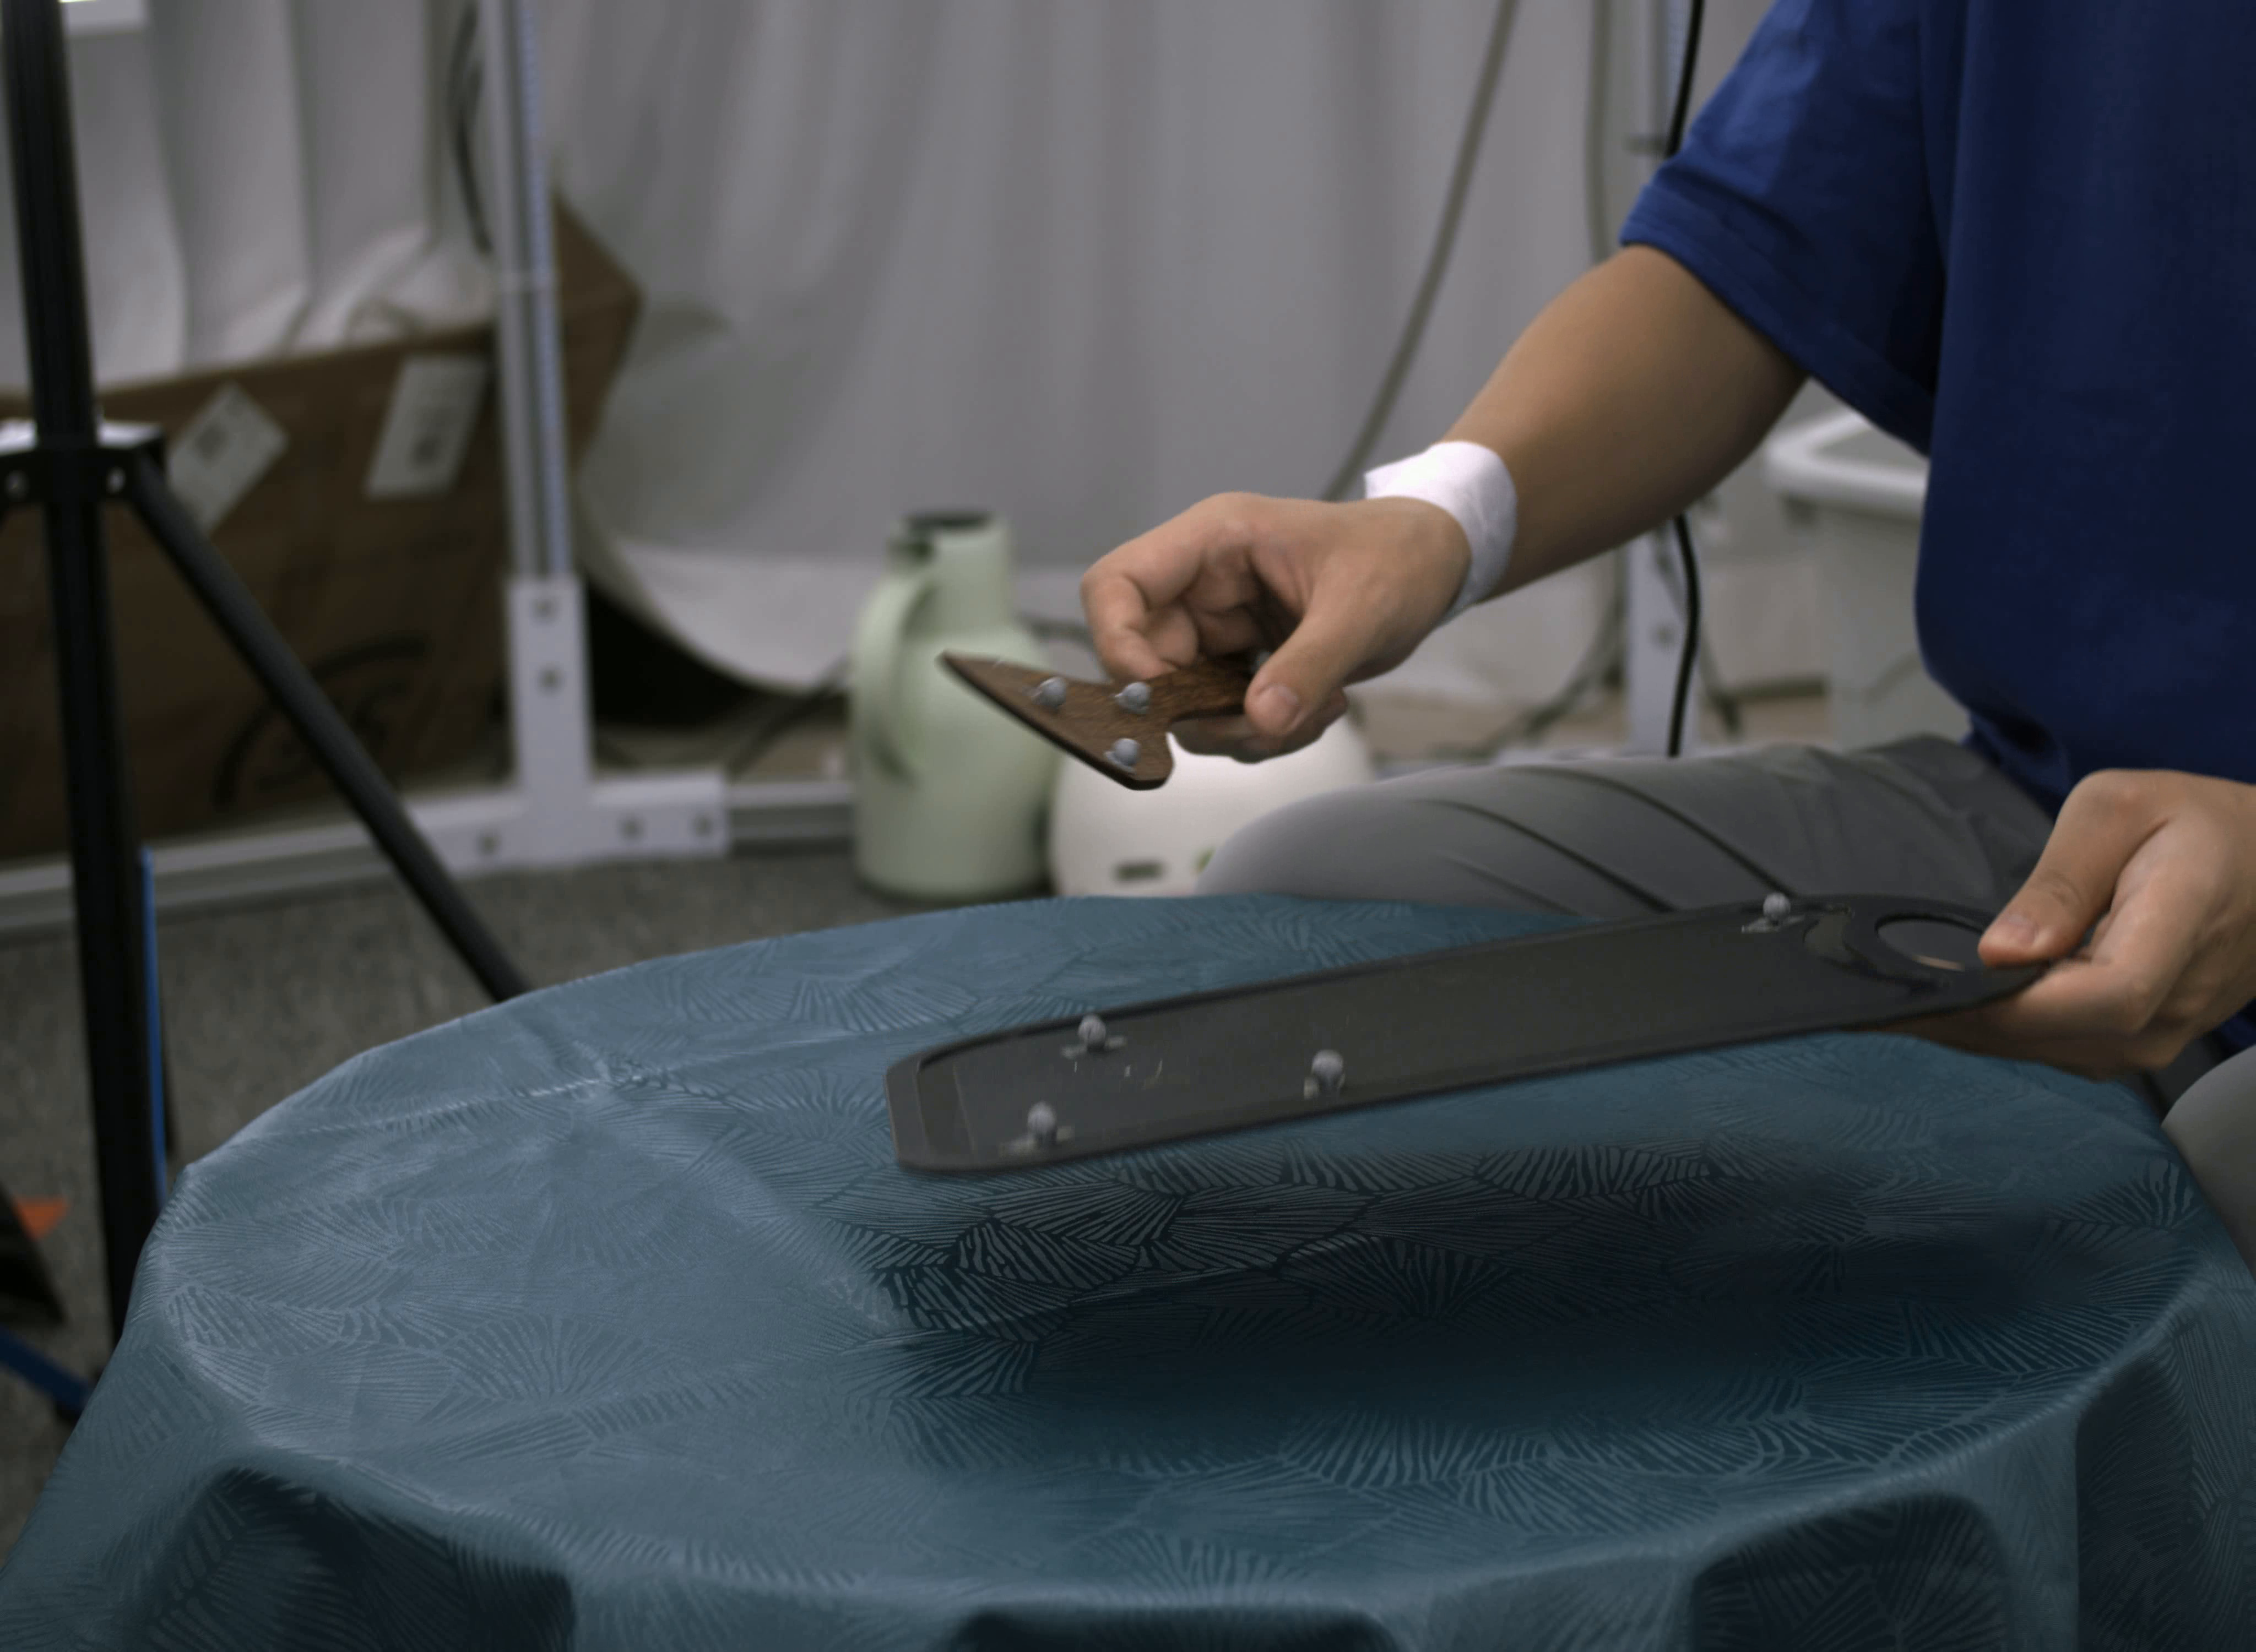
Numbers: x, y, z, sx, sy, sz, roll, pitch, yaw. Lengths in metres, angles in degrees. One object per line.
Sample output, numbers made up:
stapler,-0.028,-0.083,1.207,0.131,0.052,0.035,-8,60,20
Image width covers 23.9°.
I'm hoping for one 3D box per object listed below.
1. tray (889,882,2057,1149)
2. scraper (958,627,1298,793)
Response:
tray,0.095,0.048,1.475,0.323,0.010,0.212,-9,7,-1
scraper,0.010,-0.039,1.651,0.076,0.011,0.208,38,16,15
